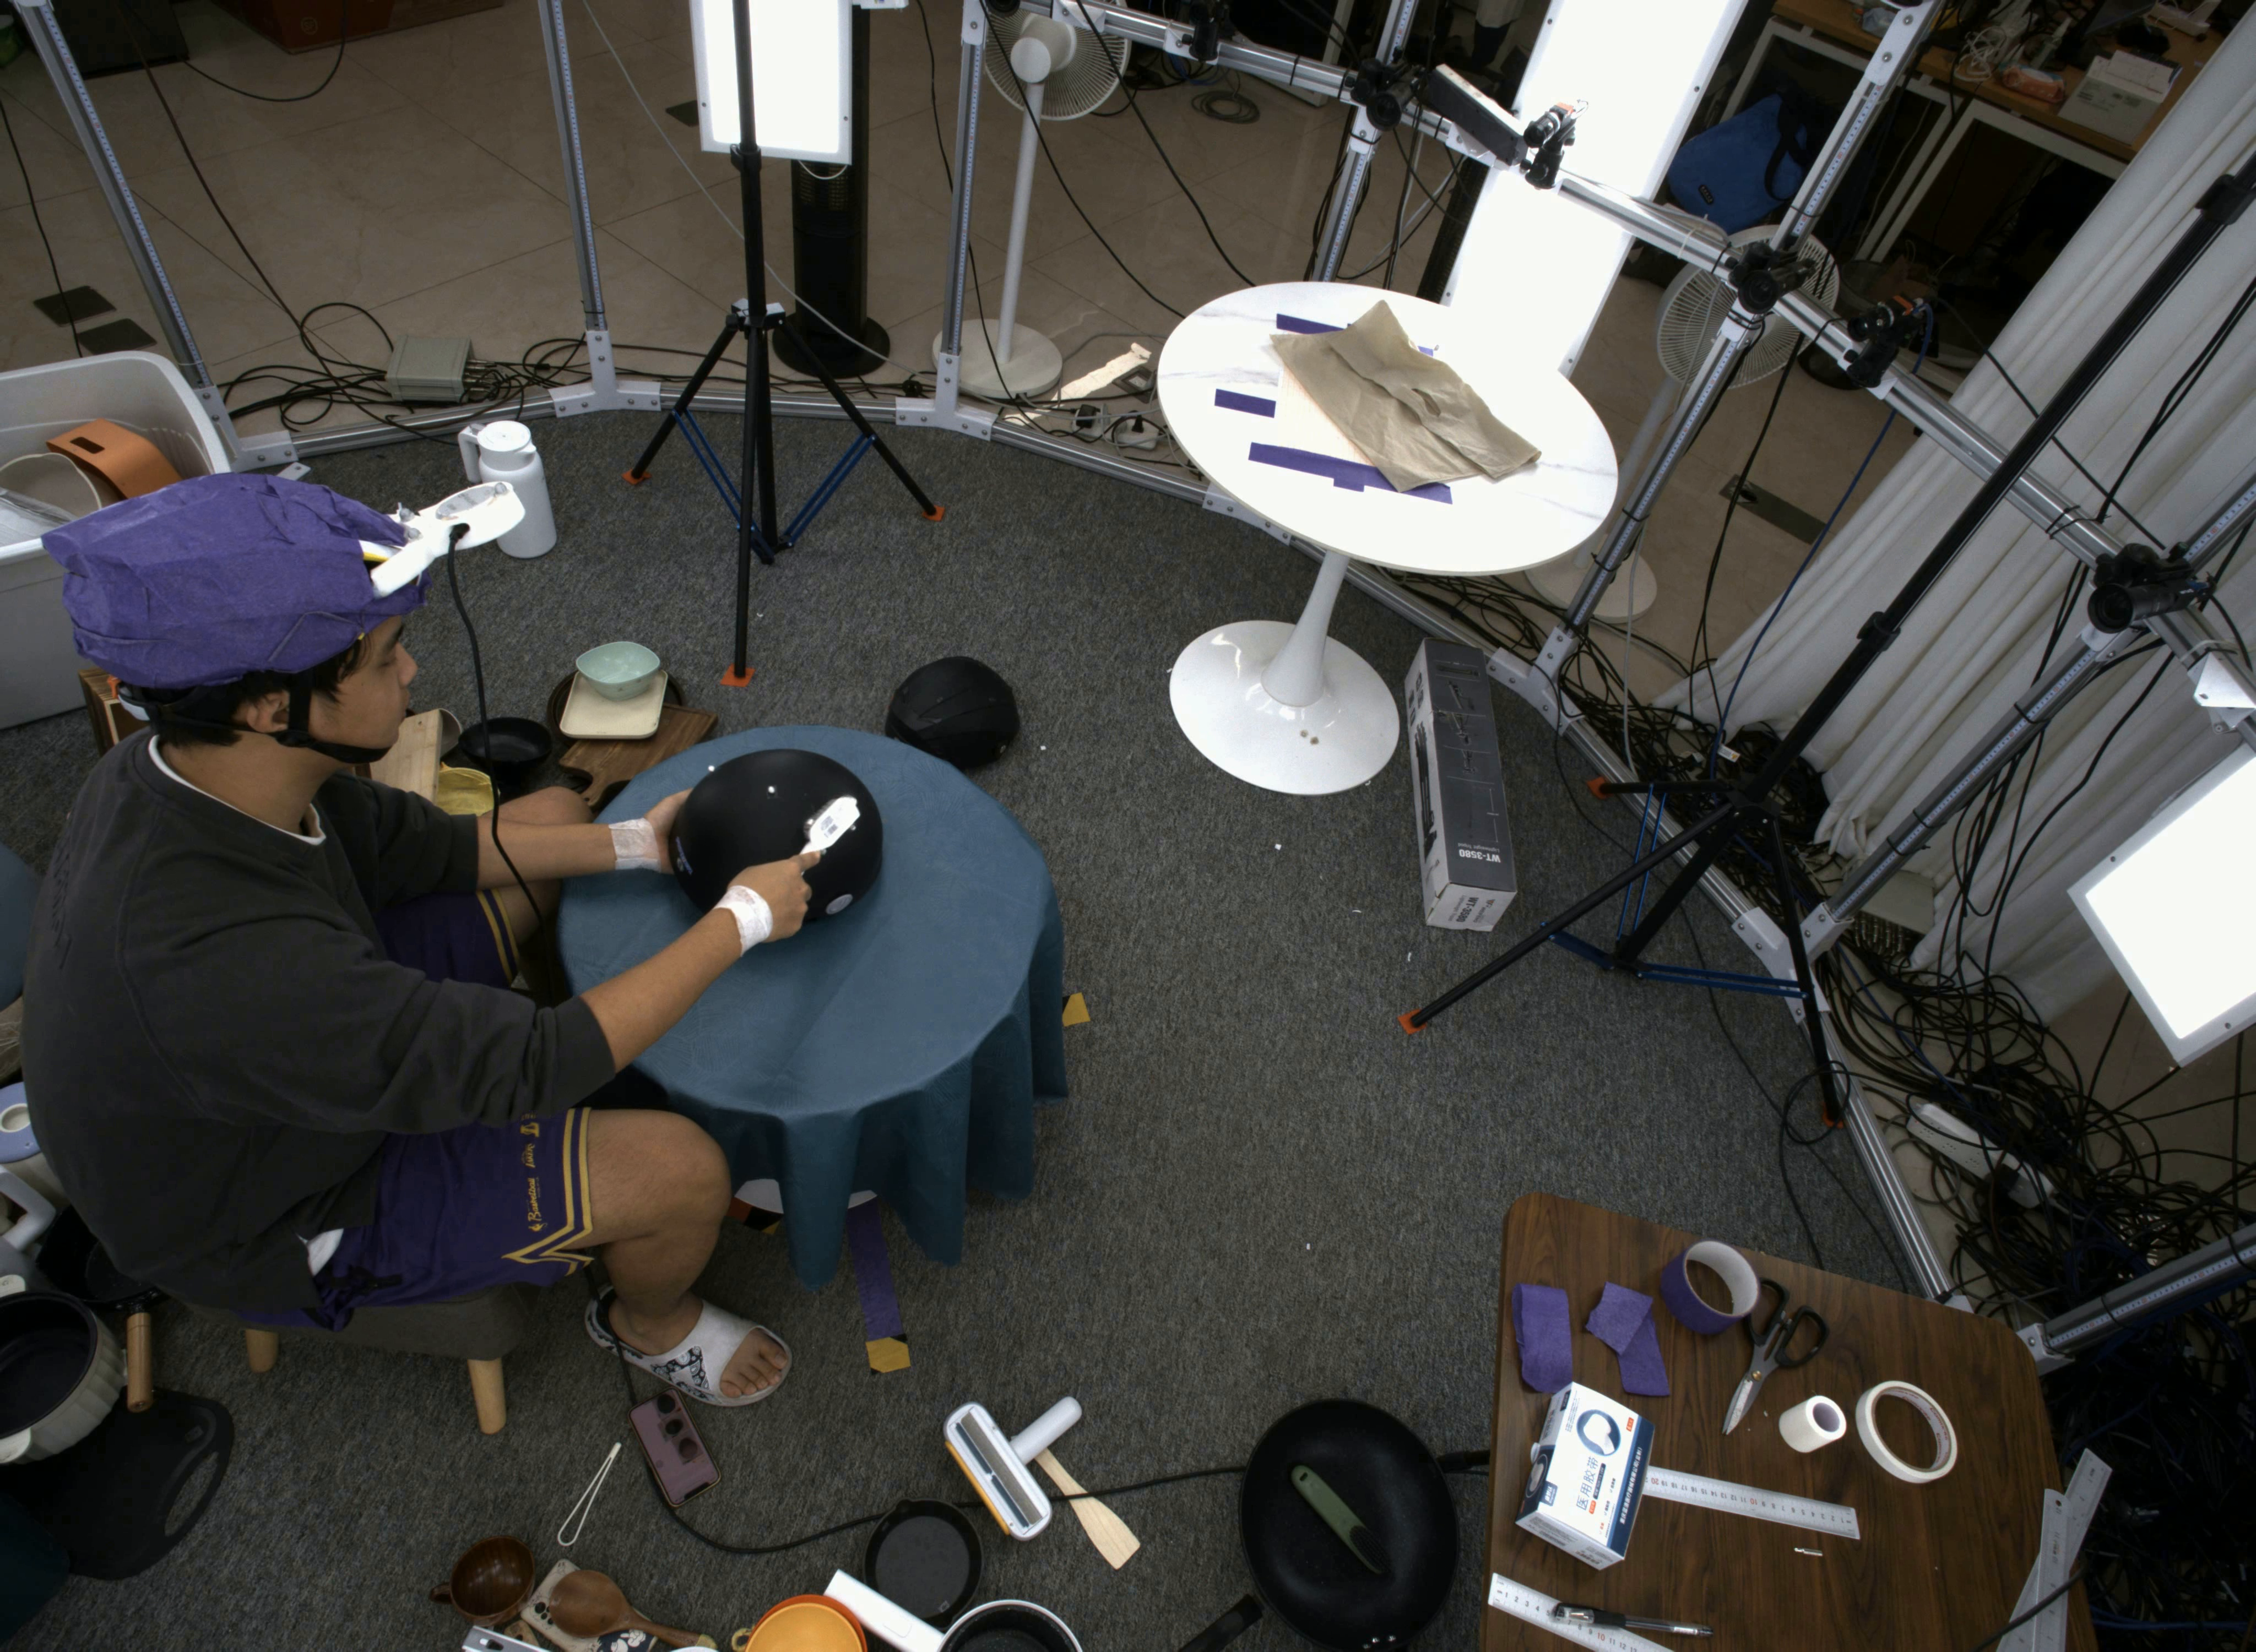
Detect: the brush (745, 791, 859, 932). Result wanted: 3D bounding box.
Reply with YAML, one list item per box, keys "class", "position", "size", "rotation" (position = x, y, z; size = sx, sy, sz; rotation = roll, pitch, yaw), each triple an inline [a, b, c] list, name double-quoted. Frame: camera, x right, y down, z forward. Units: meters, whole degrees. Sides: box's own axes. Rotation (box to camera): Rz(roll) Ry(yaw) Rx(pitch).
- class: "brush"
  position: [-0.382, 0.041, 1.487]
  size: [0.035, 0.049, 0.241]
  rotation: [50, 40, -21]

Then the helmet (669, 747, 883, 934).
- class: "helmet"
  position: [-0.432, -0.002, 1.616]
  size: [0.275, 0.168, 0.226]
  rotation: [-13, 65, -28]
